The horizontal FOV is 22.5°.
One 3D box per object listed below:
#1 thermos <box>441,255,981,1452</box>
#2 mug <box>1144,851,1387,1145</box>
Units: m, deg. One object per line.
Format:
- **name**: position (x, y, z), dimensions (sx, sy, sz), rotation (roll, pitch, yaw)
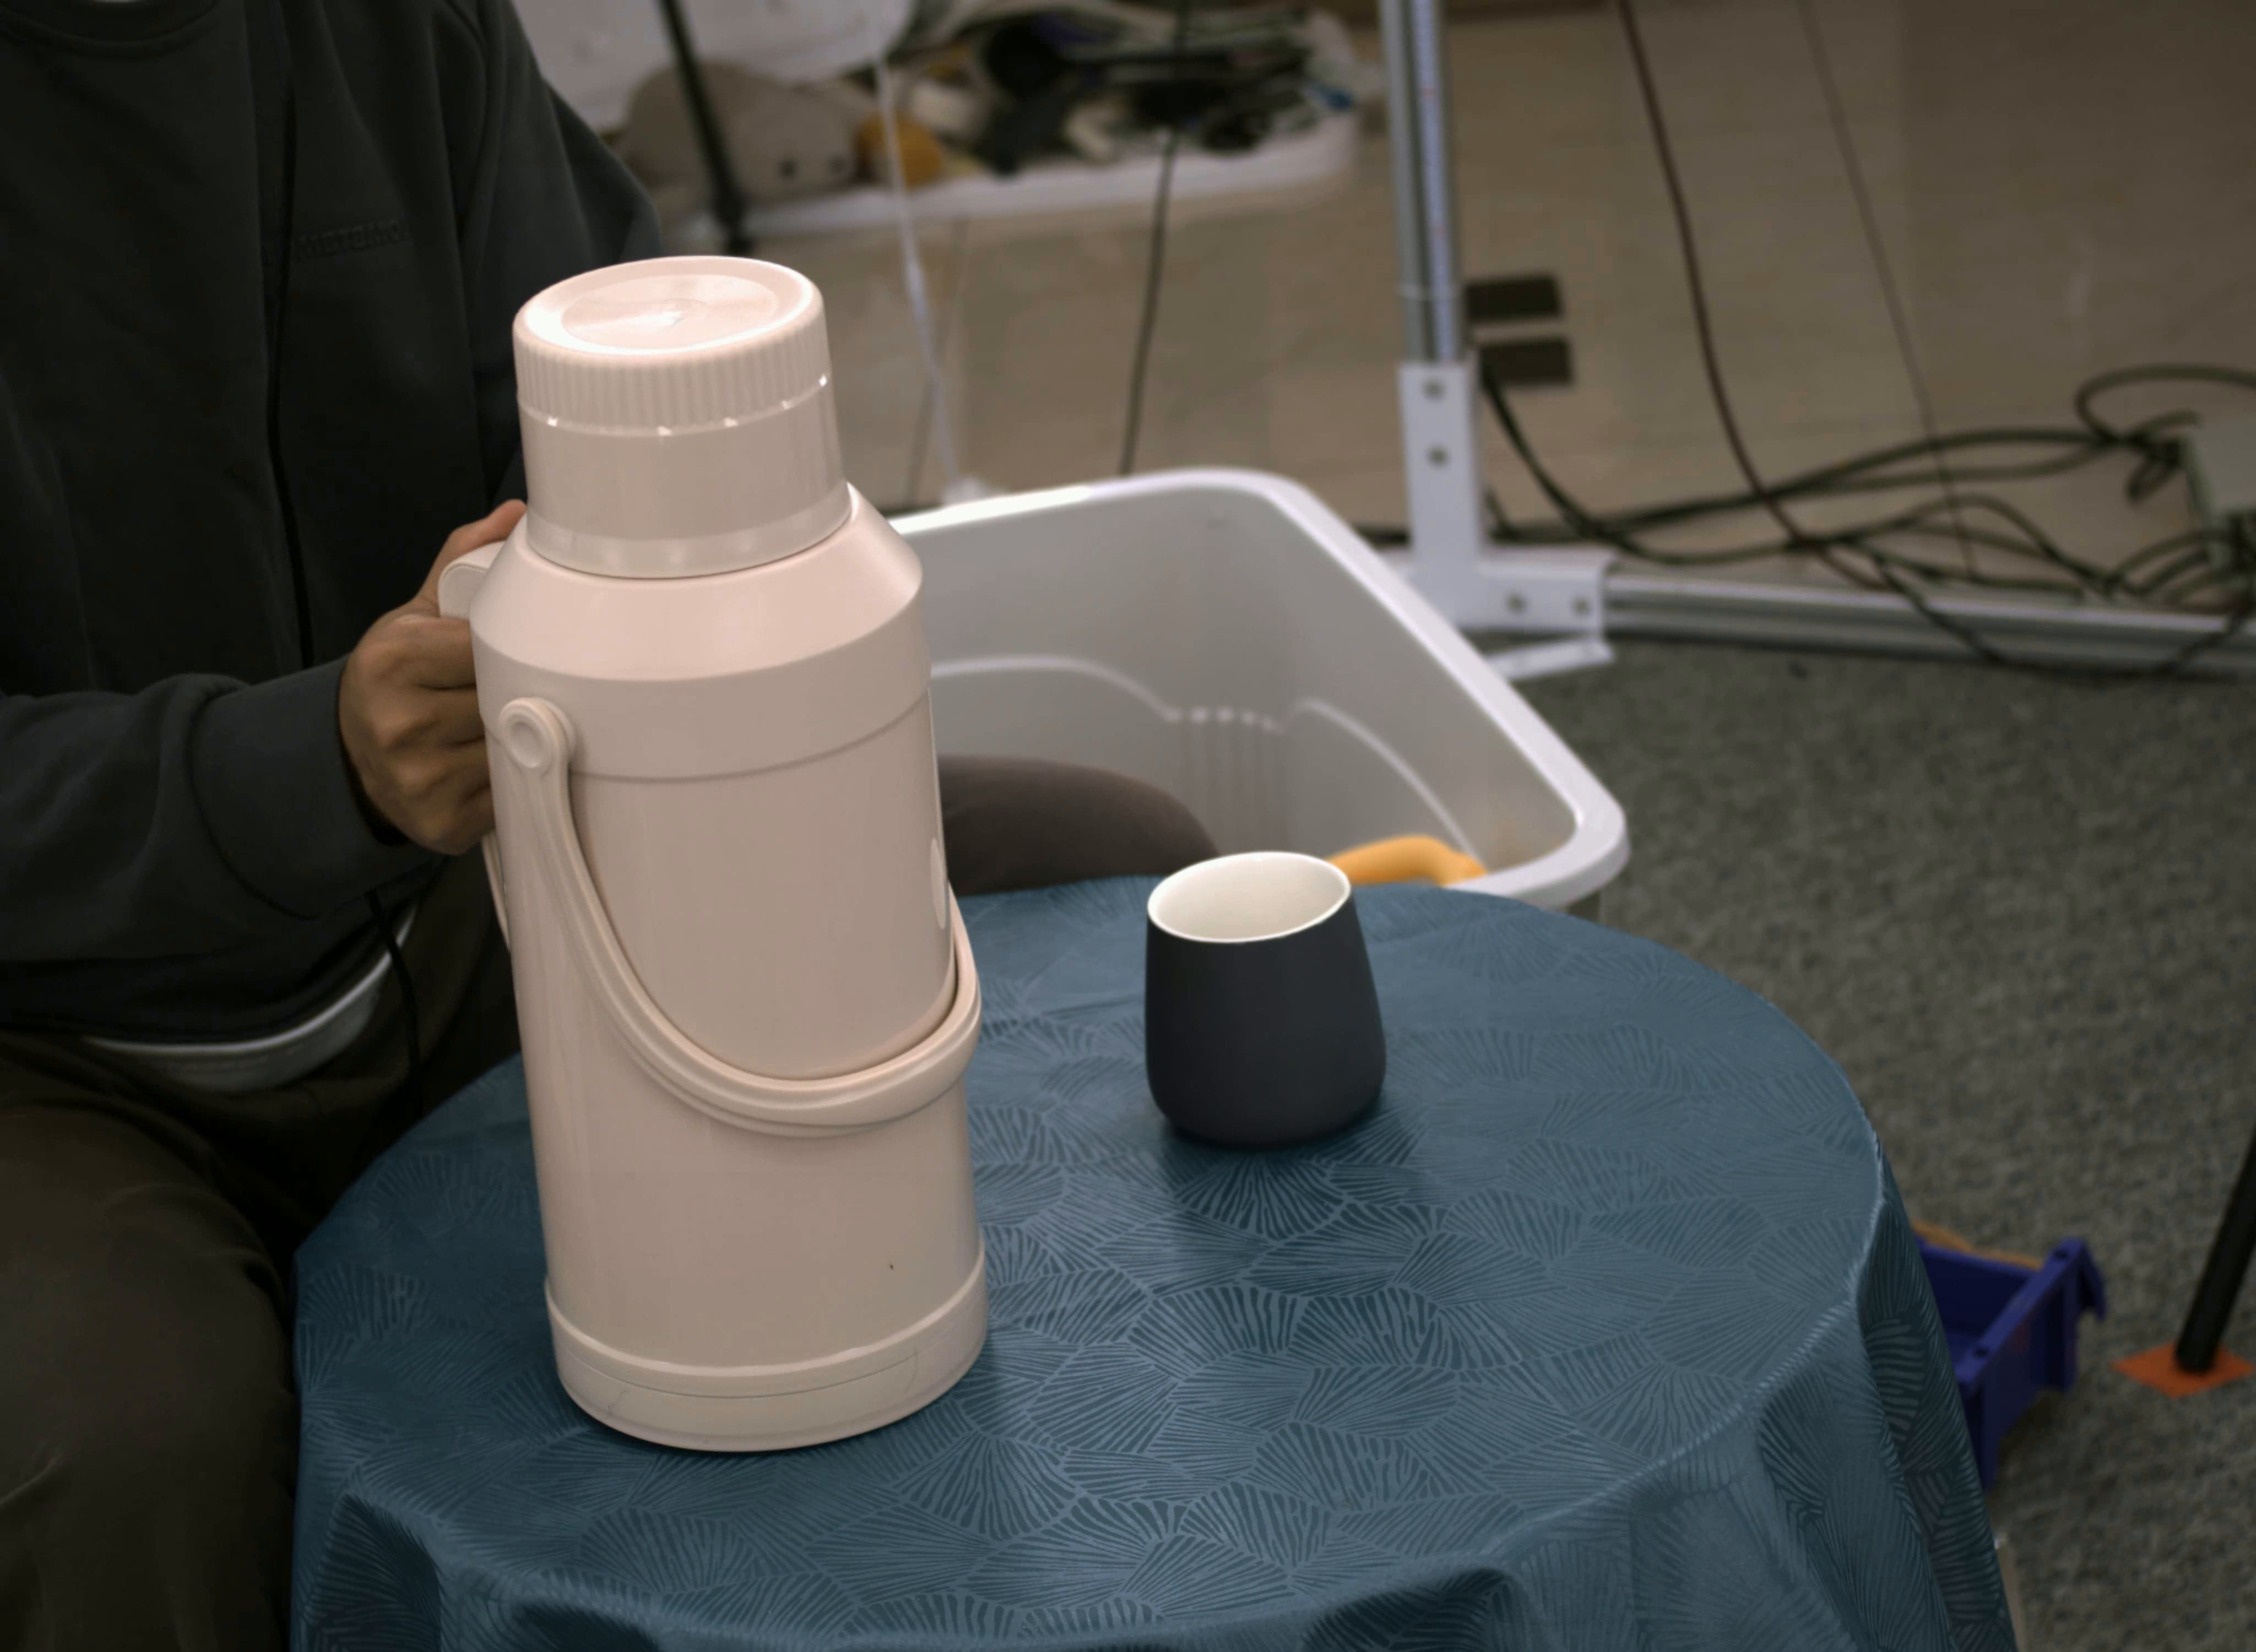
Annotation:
- **thermos**: position (-0.153, 0.005, 1.986), dimensions (0.205, 0.413, 0.173), rotation (16, 33, 35)
- **mug**: position (0.058, 0.061, 2.194), dimensions (0.093, 0.091, 0.122), rotation (7, 29, 27)
